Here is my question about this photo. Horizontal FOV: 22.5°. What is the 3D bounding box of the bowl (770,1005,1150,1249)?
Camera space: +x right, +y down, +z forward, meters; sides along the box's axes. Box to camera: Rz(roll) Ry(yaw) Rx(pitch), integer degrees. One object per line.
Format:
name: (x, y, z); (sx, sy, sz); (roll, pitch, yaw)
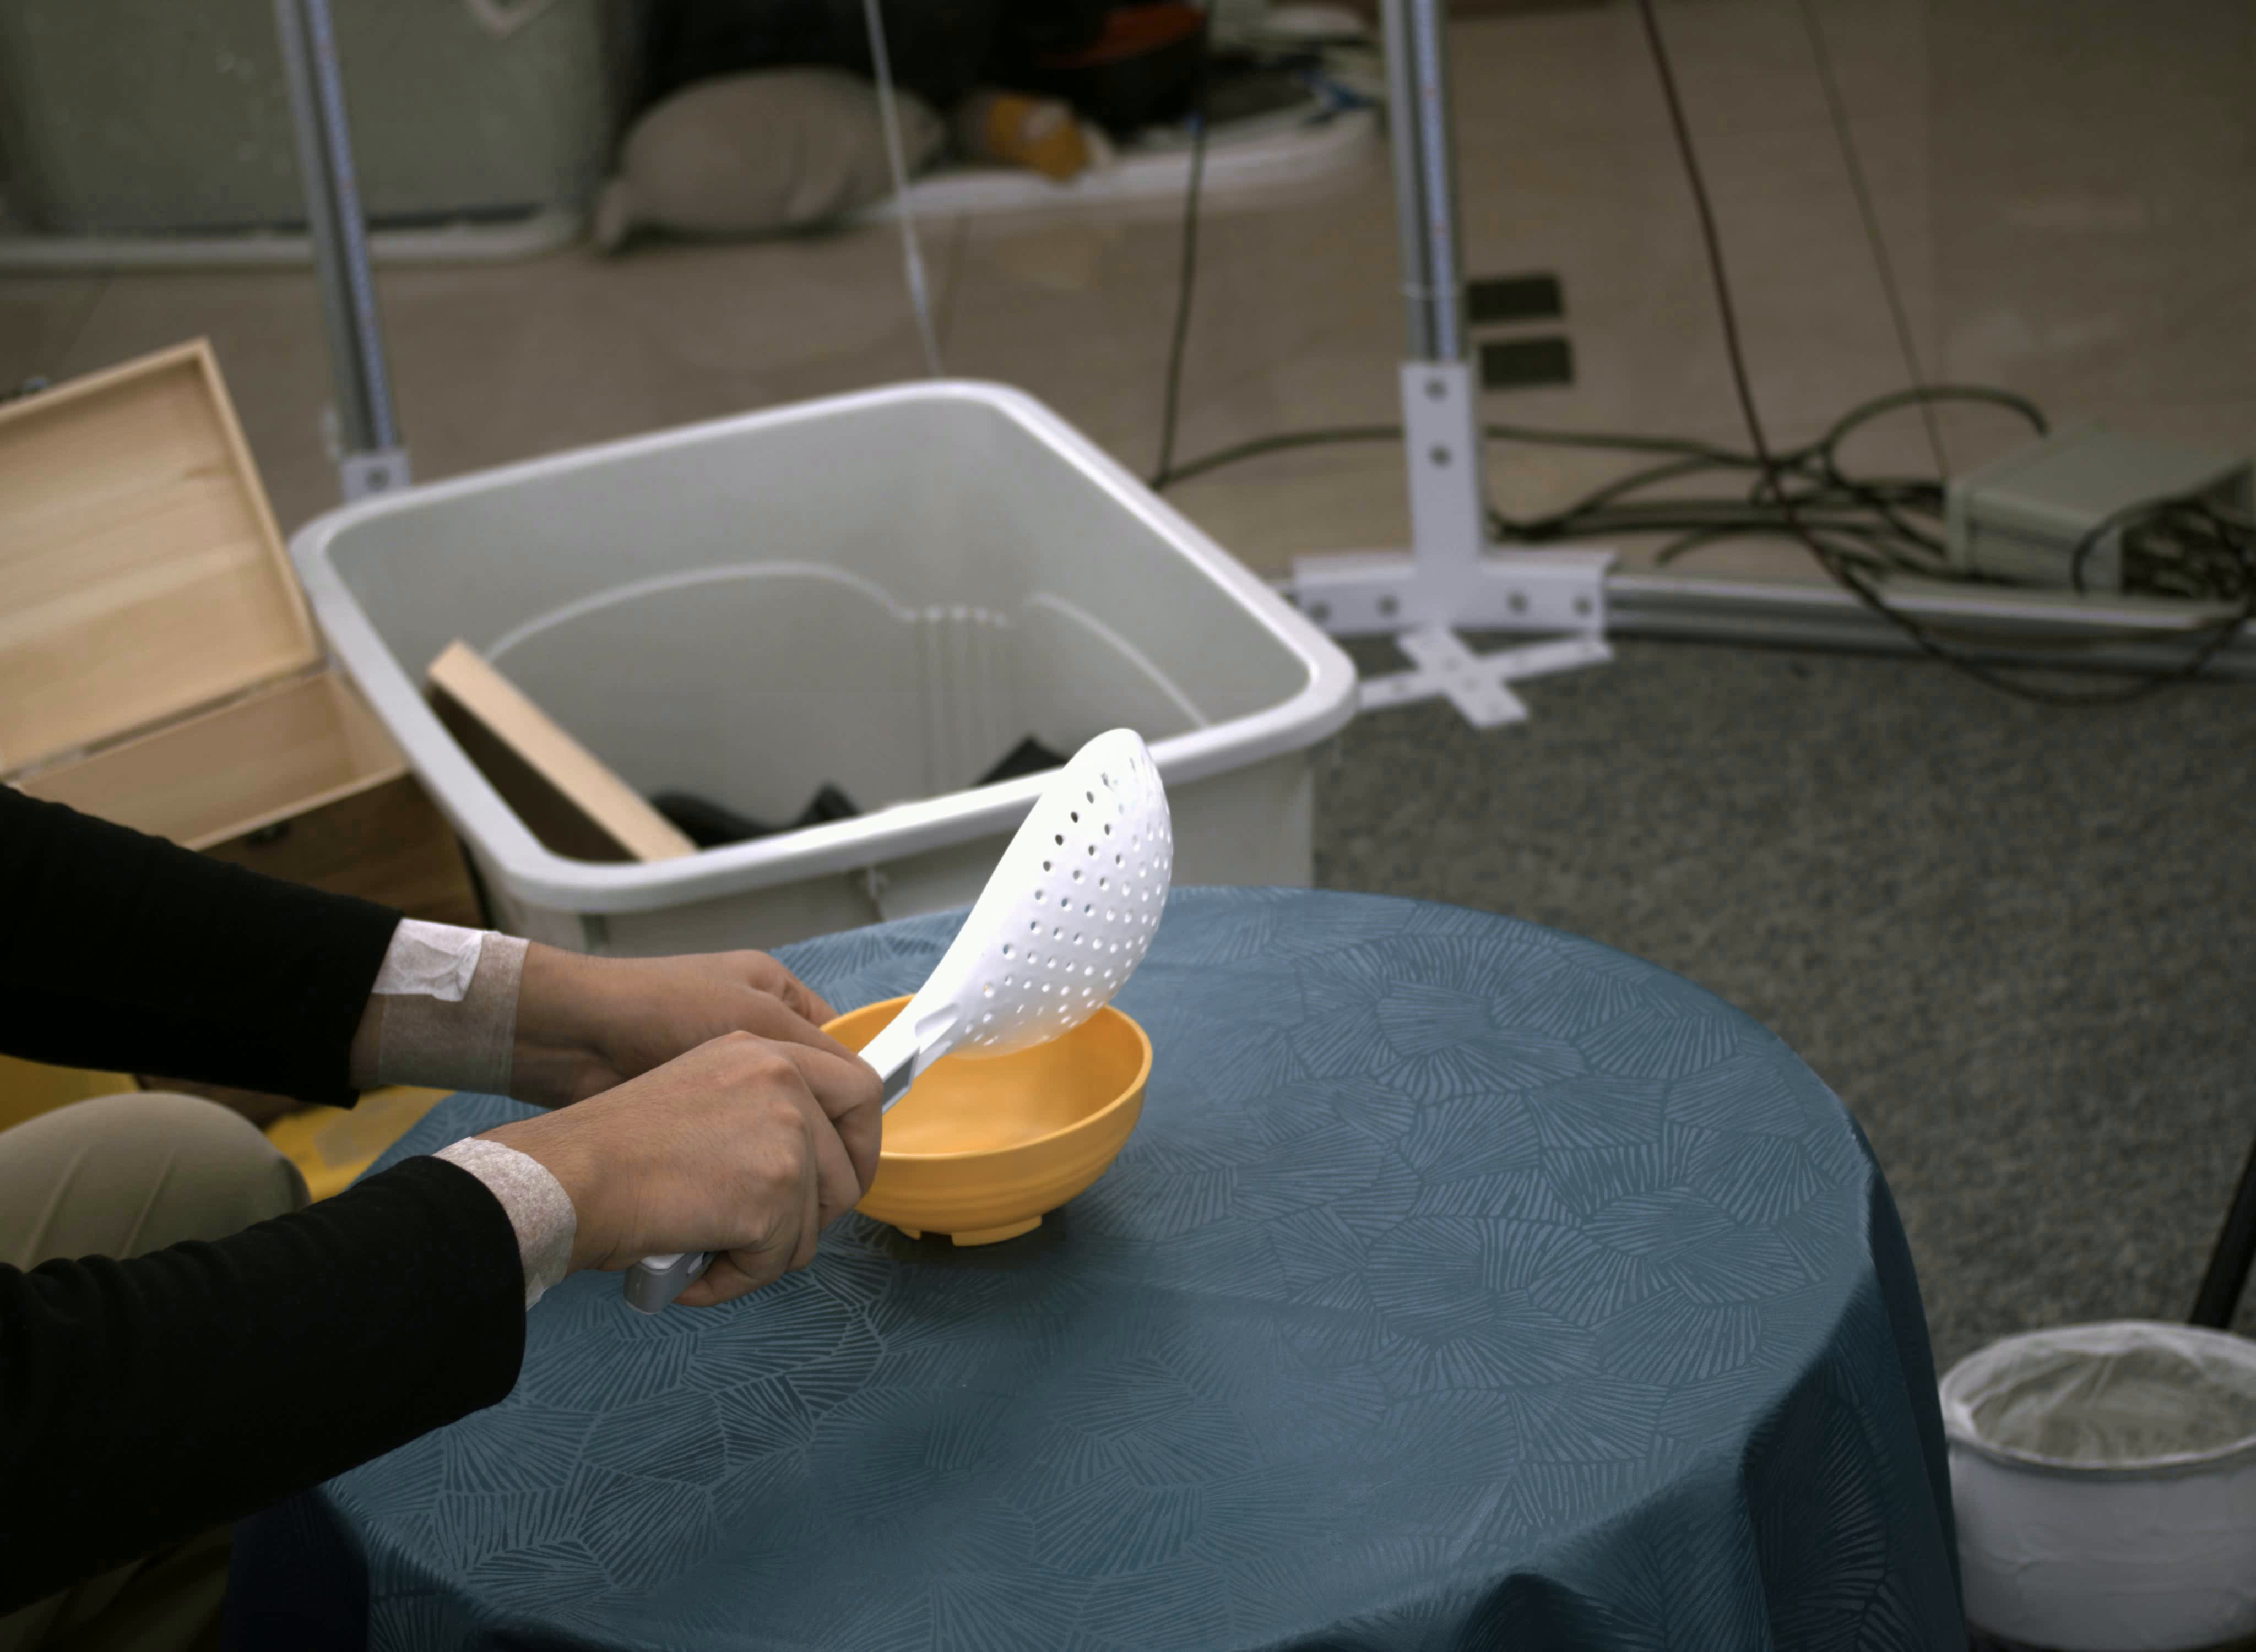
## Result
bowl: (-0.061, 0.119, 2.137); (0.145, 0.061, 0.143); (-4, 22, 2)

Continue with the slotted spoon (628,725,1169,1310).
slotted spoon: (-0.076, 0.075, 2.037); (0.045, 0.138, 0.346); (29, 39, 23)
